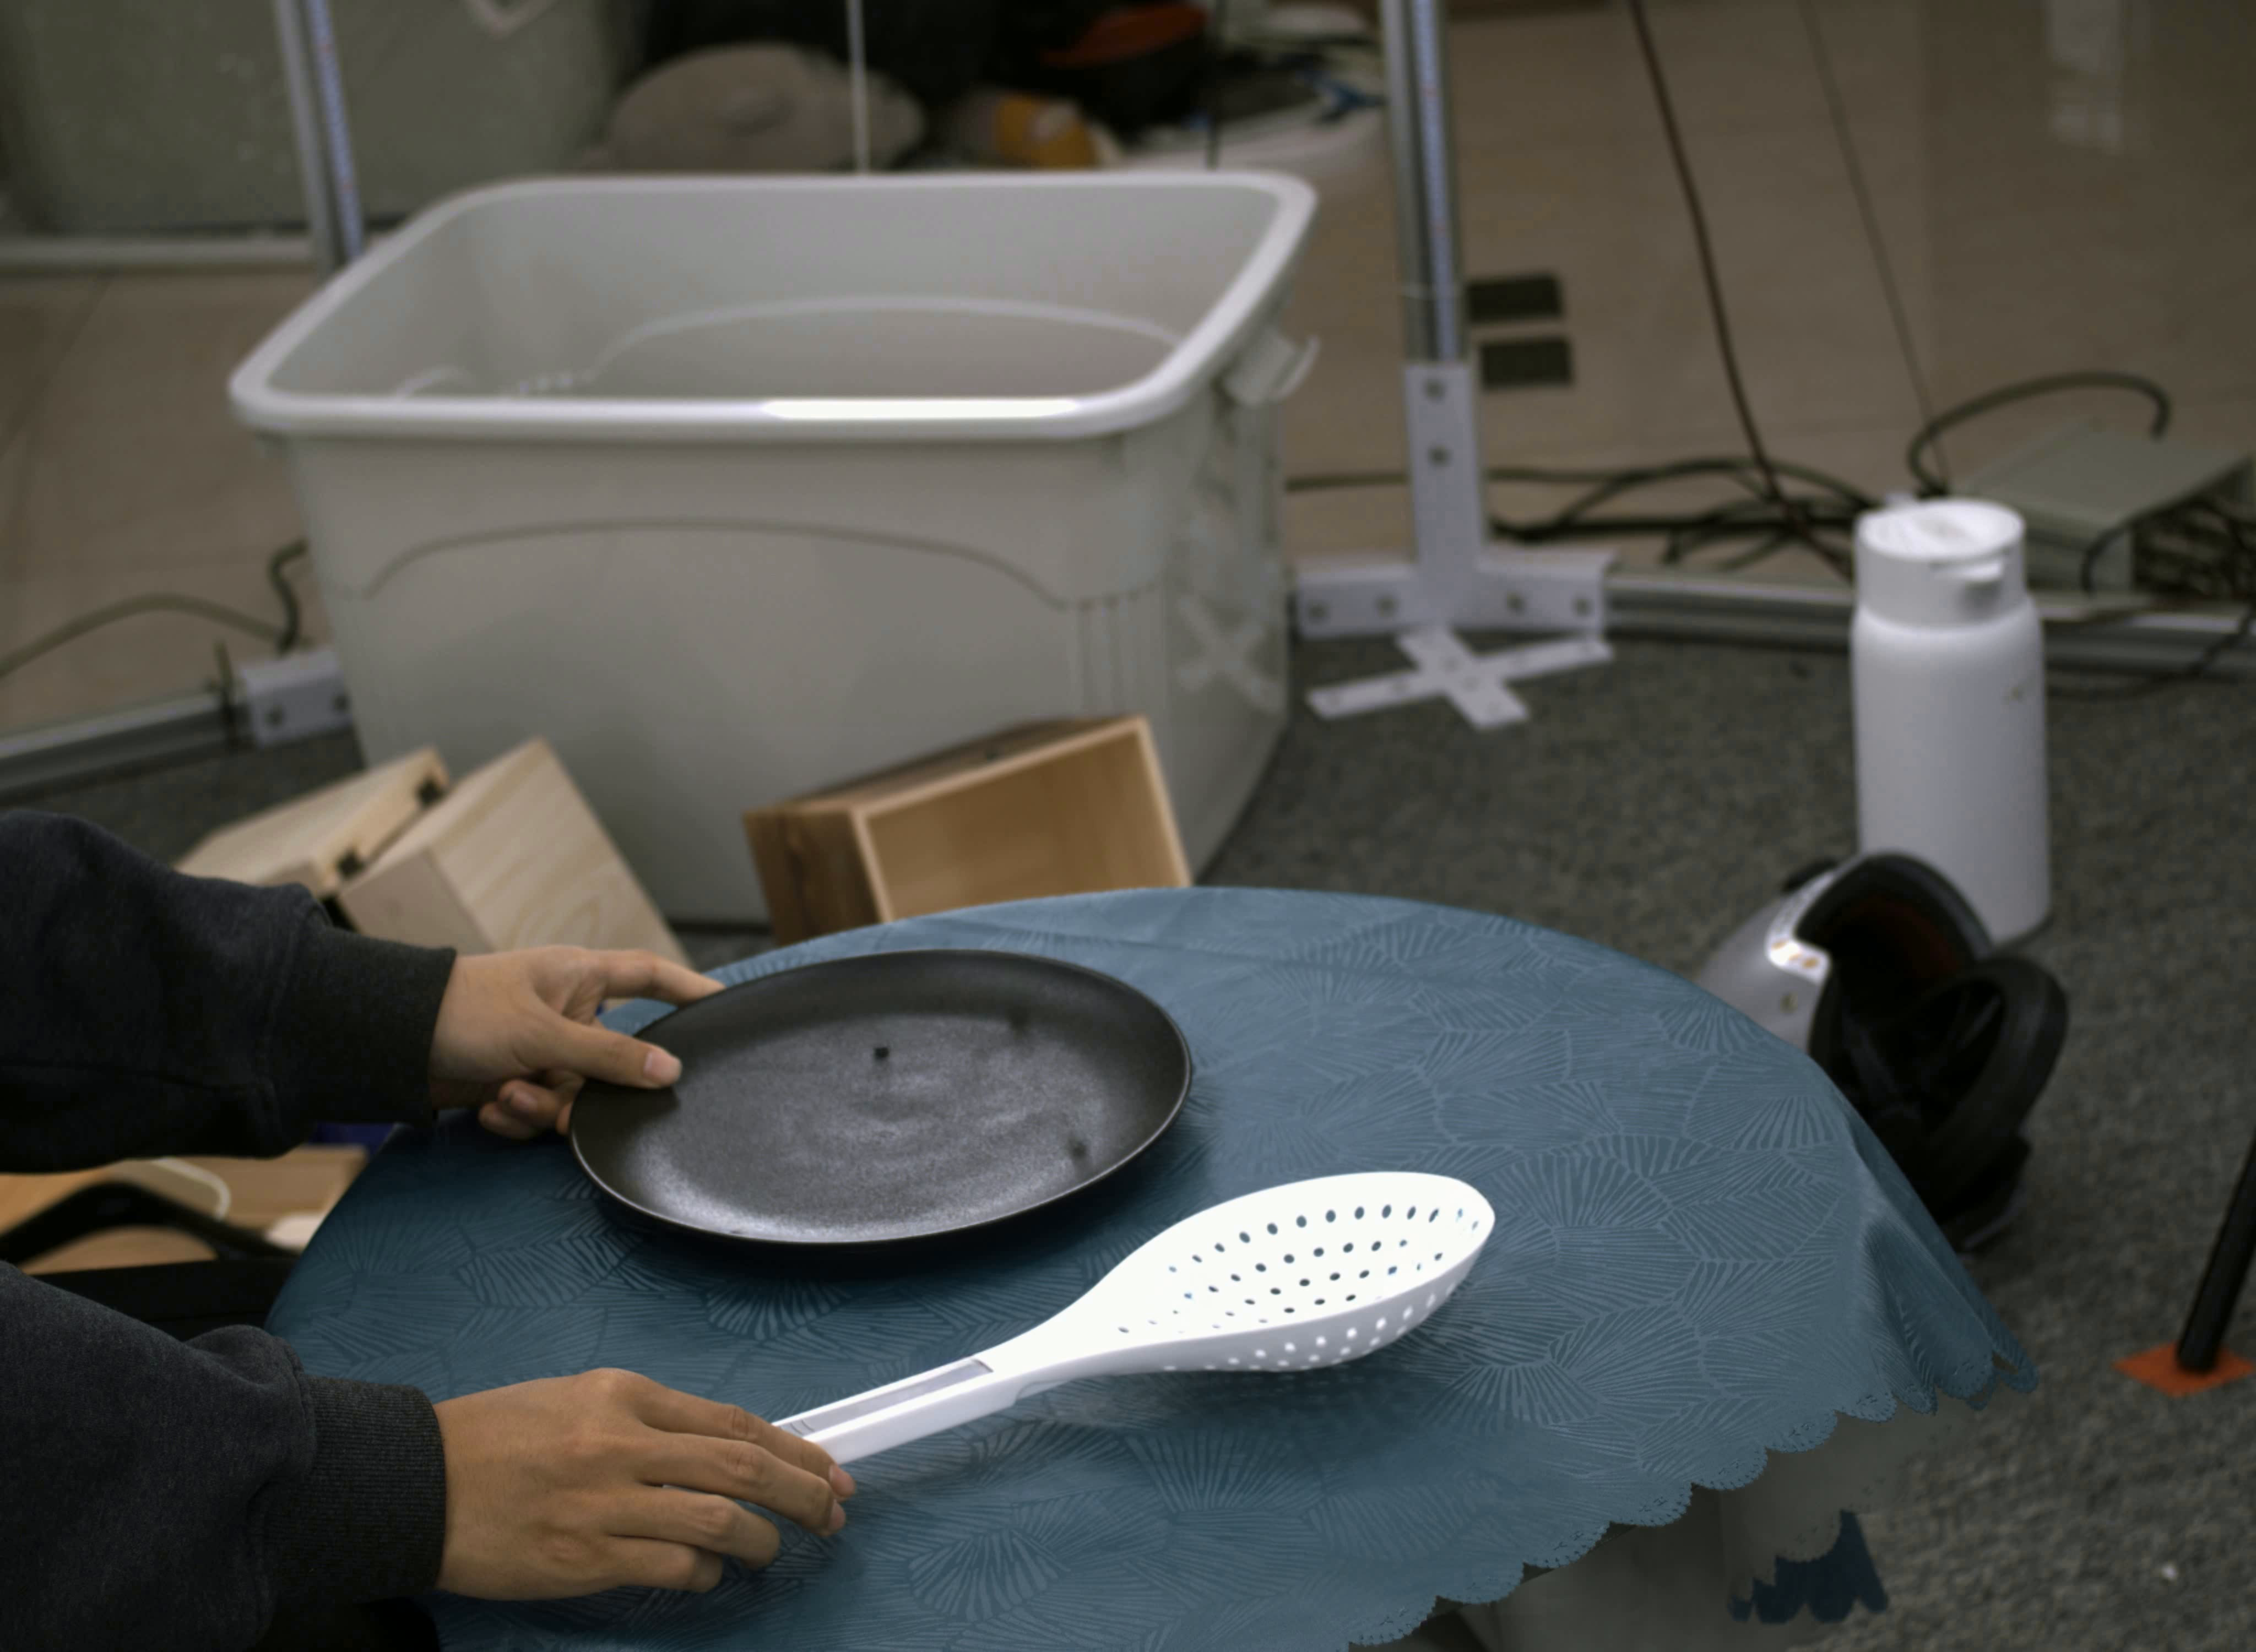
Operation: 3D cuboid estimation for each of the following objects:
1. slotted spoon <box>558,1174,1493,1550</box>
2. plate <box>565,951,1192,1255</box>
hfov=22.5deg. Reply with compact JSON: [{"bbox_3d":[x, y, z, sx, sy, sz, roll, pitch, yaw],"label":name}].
[{"bbox_3d":[-0.033,0.187,1.979,0.348,0.046,0.135,-13,13,-20],"label":"slotted spoon"},{"bbox_3d":[-0.096,0.112,2.198,0.244,0.024,0.241,-4,25,2],"label":"plate"}]
